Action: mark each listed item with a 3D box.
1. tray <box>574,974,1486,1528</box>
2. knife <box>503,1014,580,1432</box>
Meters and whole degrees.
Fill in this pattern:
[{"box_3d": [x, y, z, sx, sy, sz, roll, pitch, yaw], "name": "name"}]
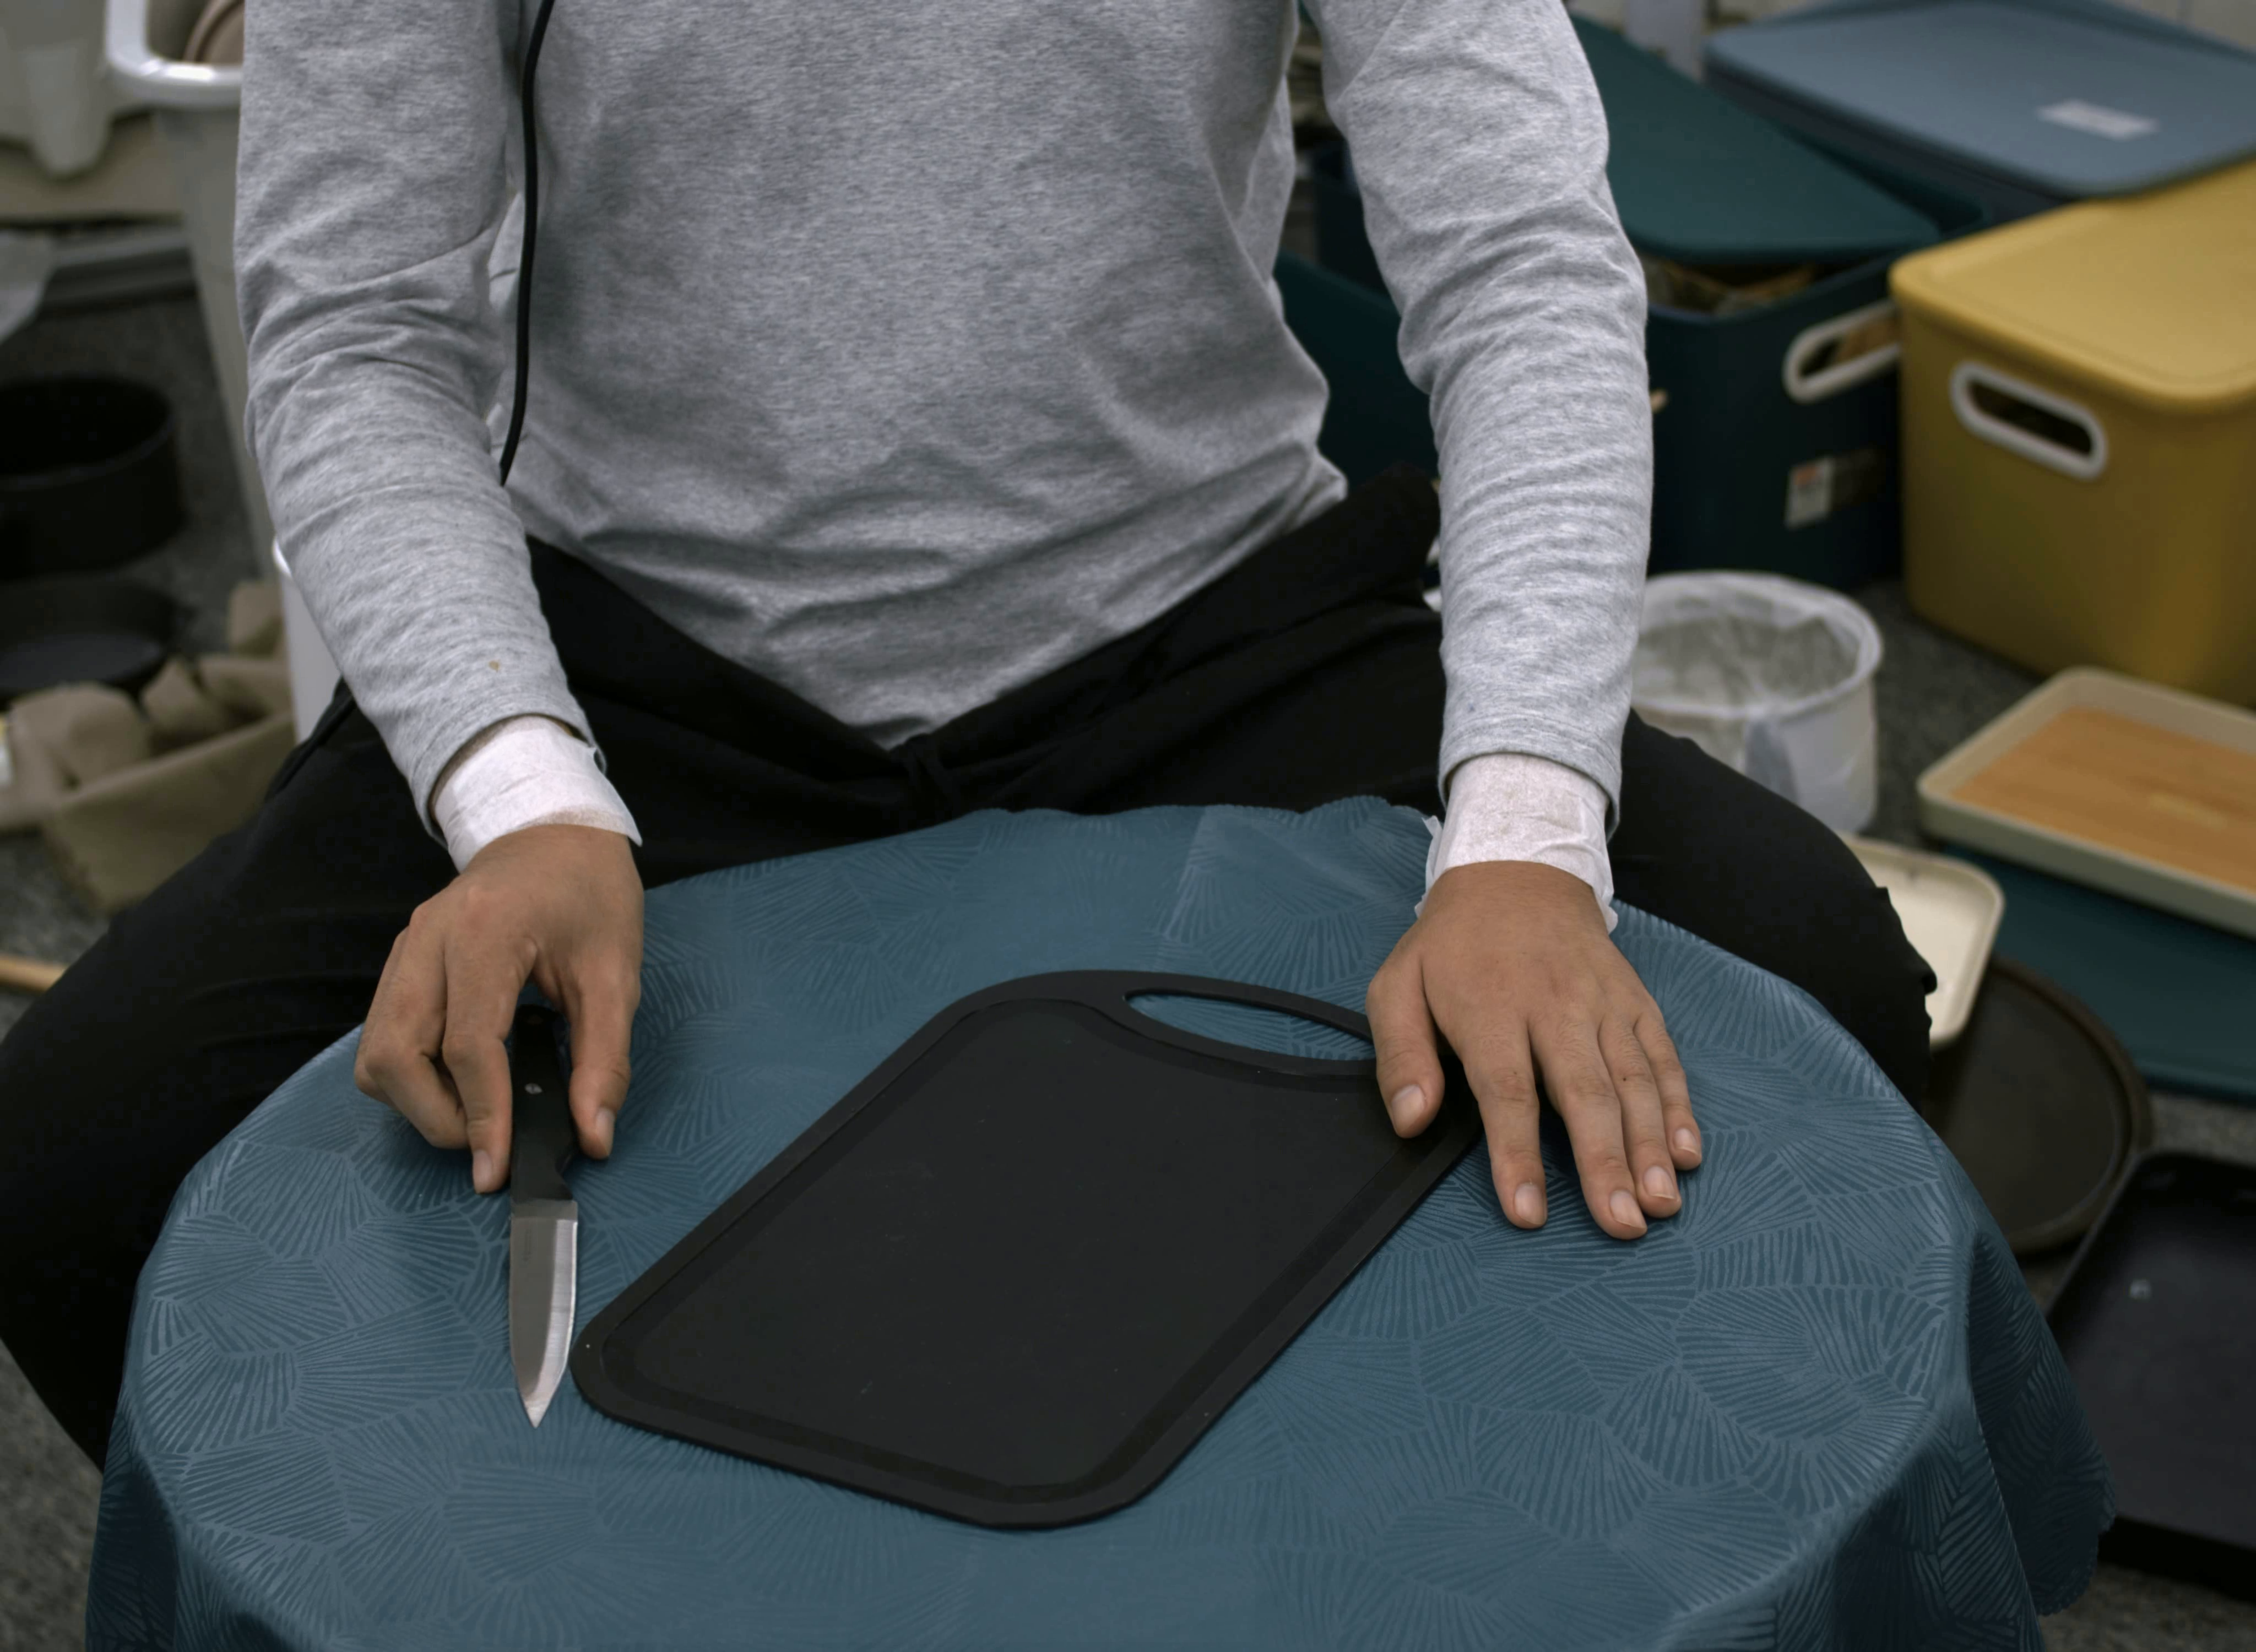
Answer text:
[{"box_3d": [-0.024, 0.128, 1.846, 0.210, 0.009, 0.330, 13, 31, 27], "name": "tray"}, {"box_3d": [-0.194, 0.130, 1.852, 0.024, 0.016, 0.241, -1, 30, -6], "name": "knife"}]
